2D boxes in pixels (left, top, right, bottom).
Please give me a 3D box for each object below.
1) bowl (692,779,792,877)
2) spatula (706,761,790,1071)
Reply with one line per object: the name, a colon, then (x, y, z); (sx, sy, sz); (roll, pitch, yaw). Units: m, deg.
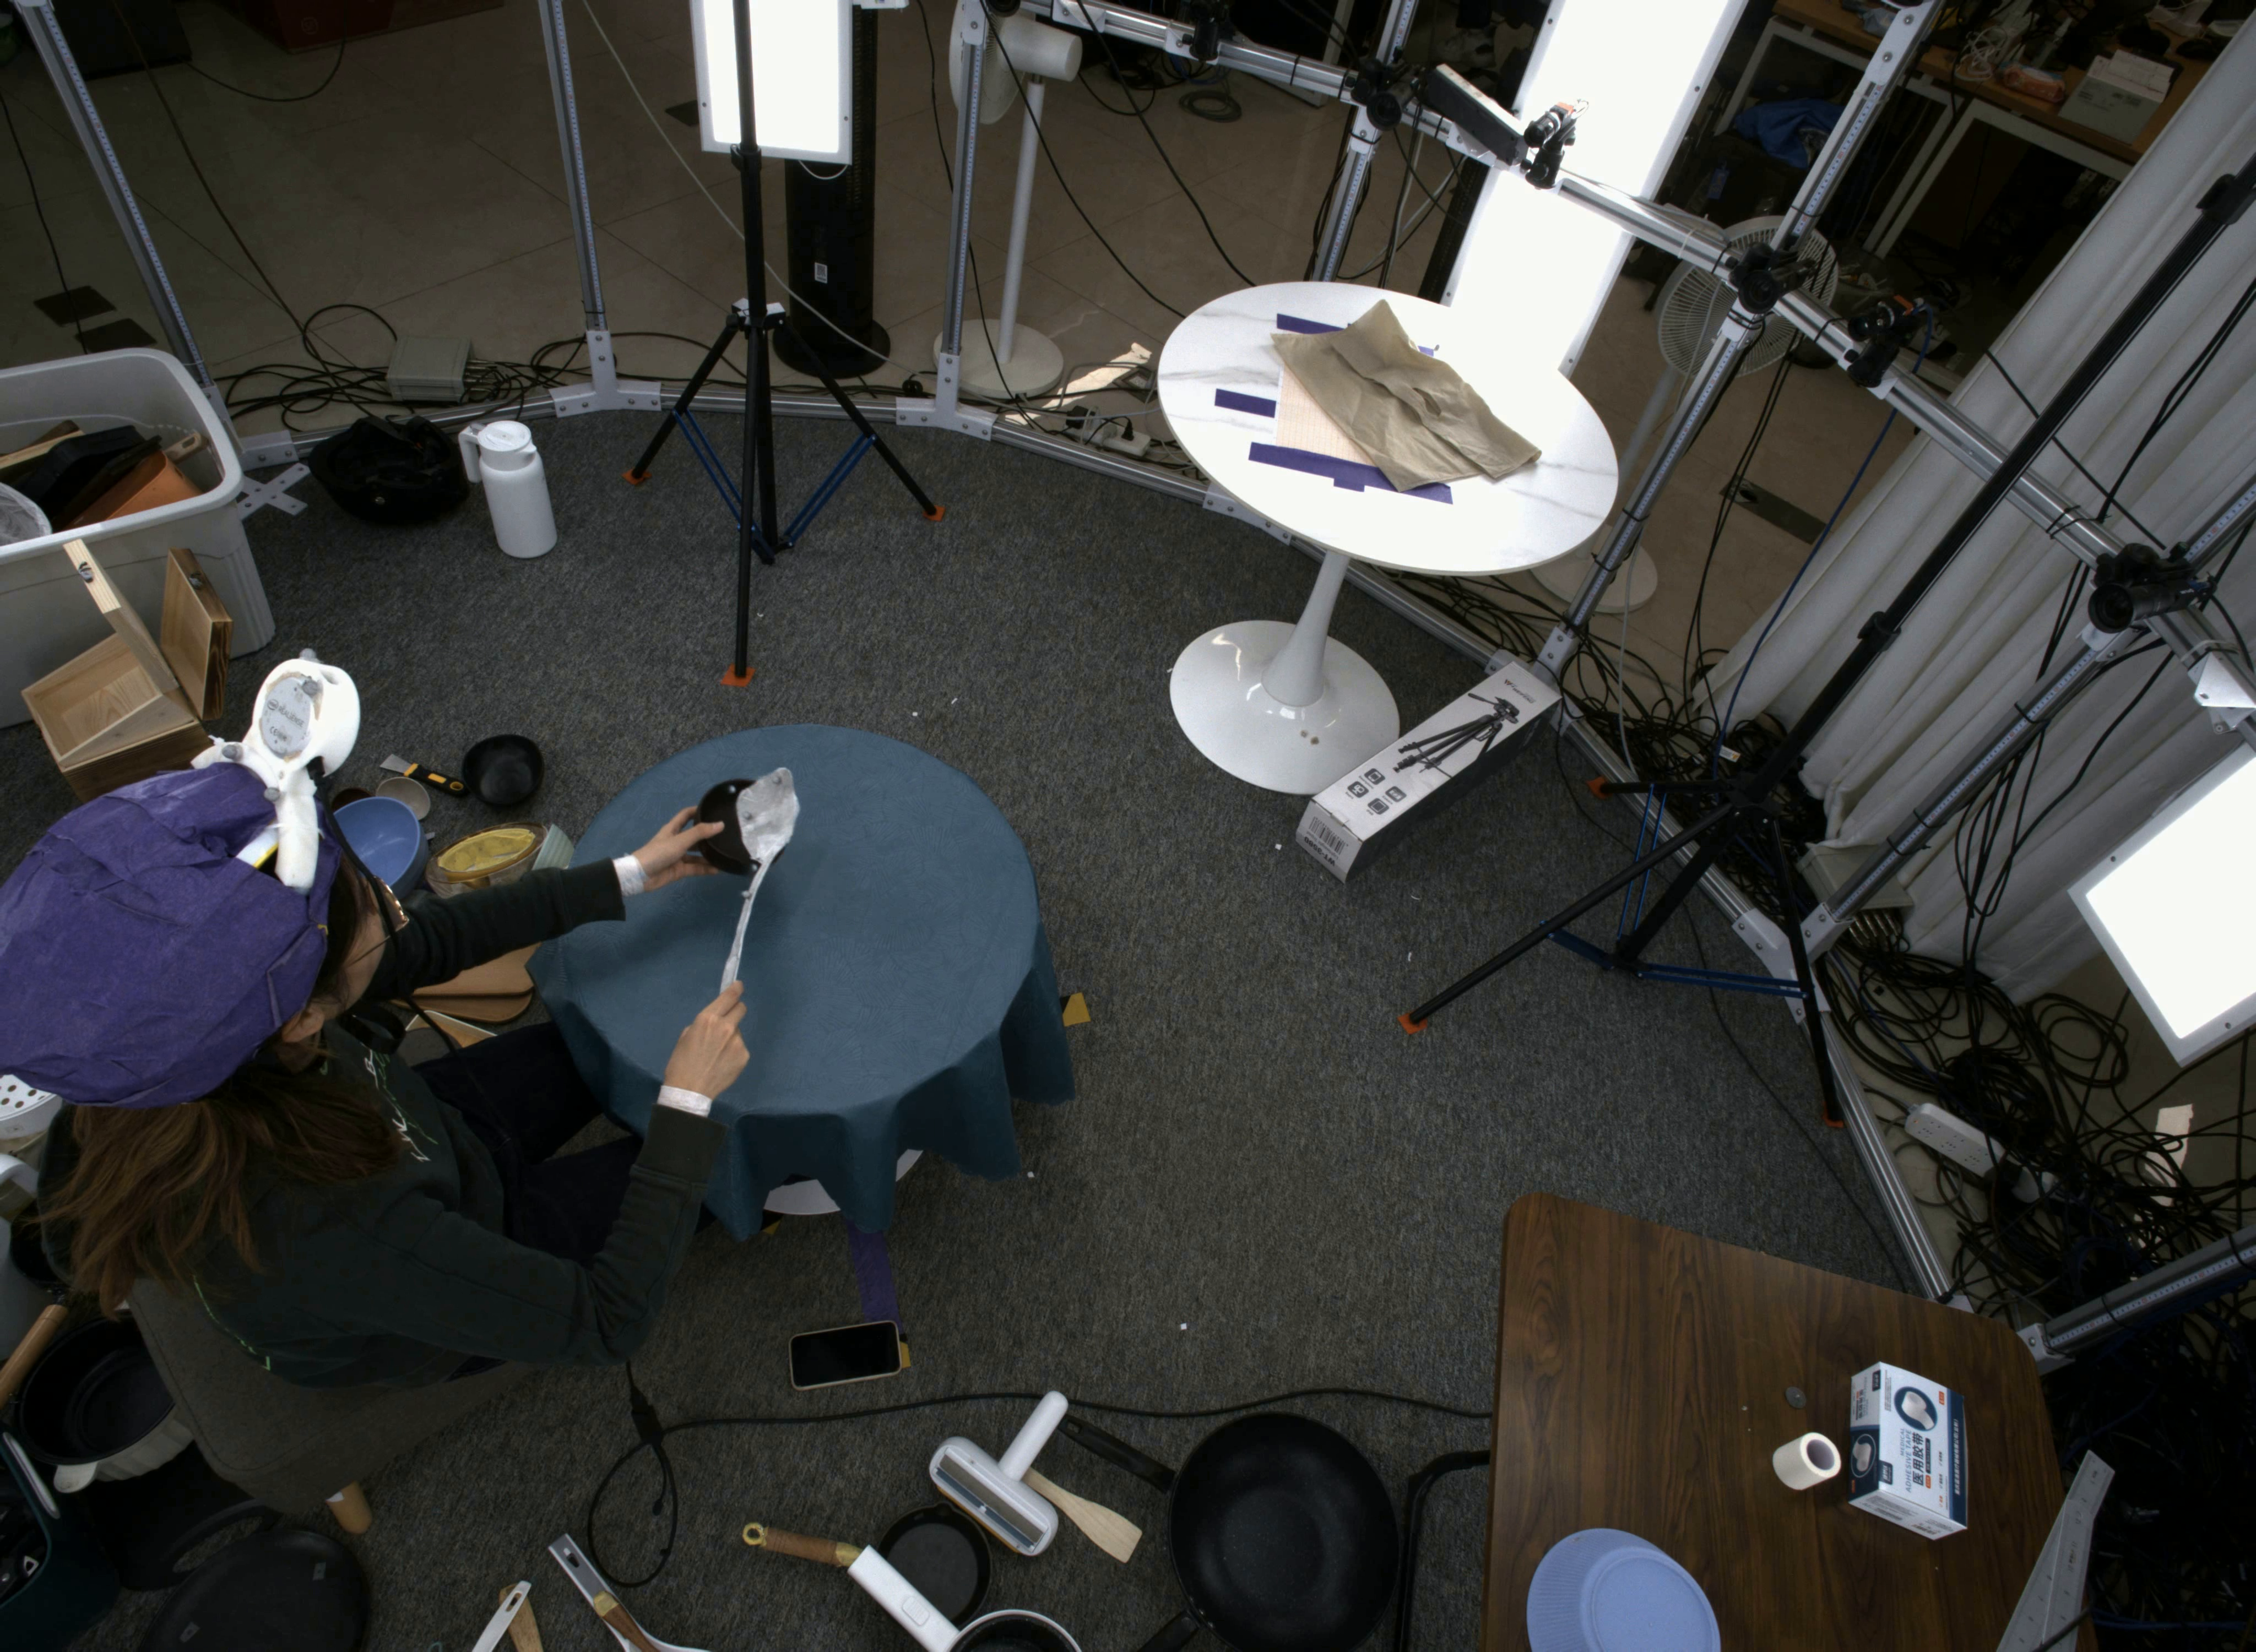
bowl: (-0.476, 0.008, 1.588); (0.119, 0.070, 0.116); (14, 57, -20)
spatula: (-0.421, 0.087, 1.393); (0.046, 0.097, 0.358); (40, 39, -39)
